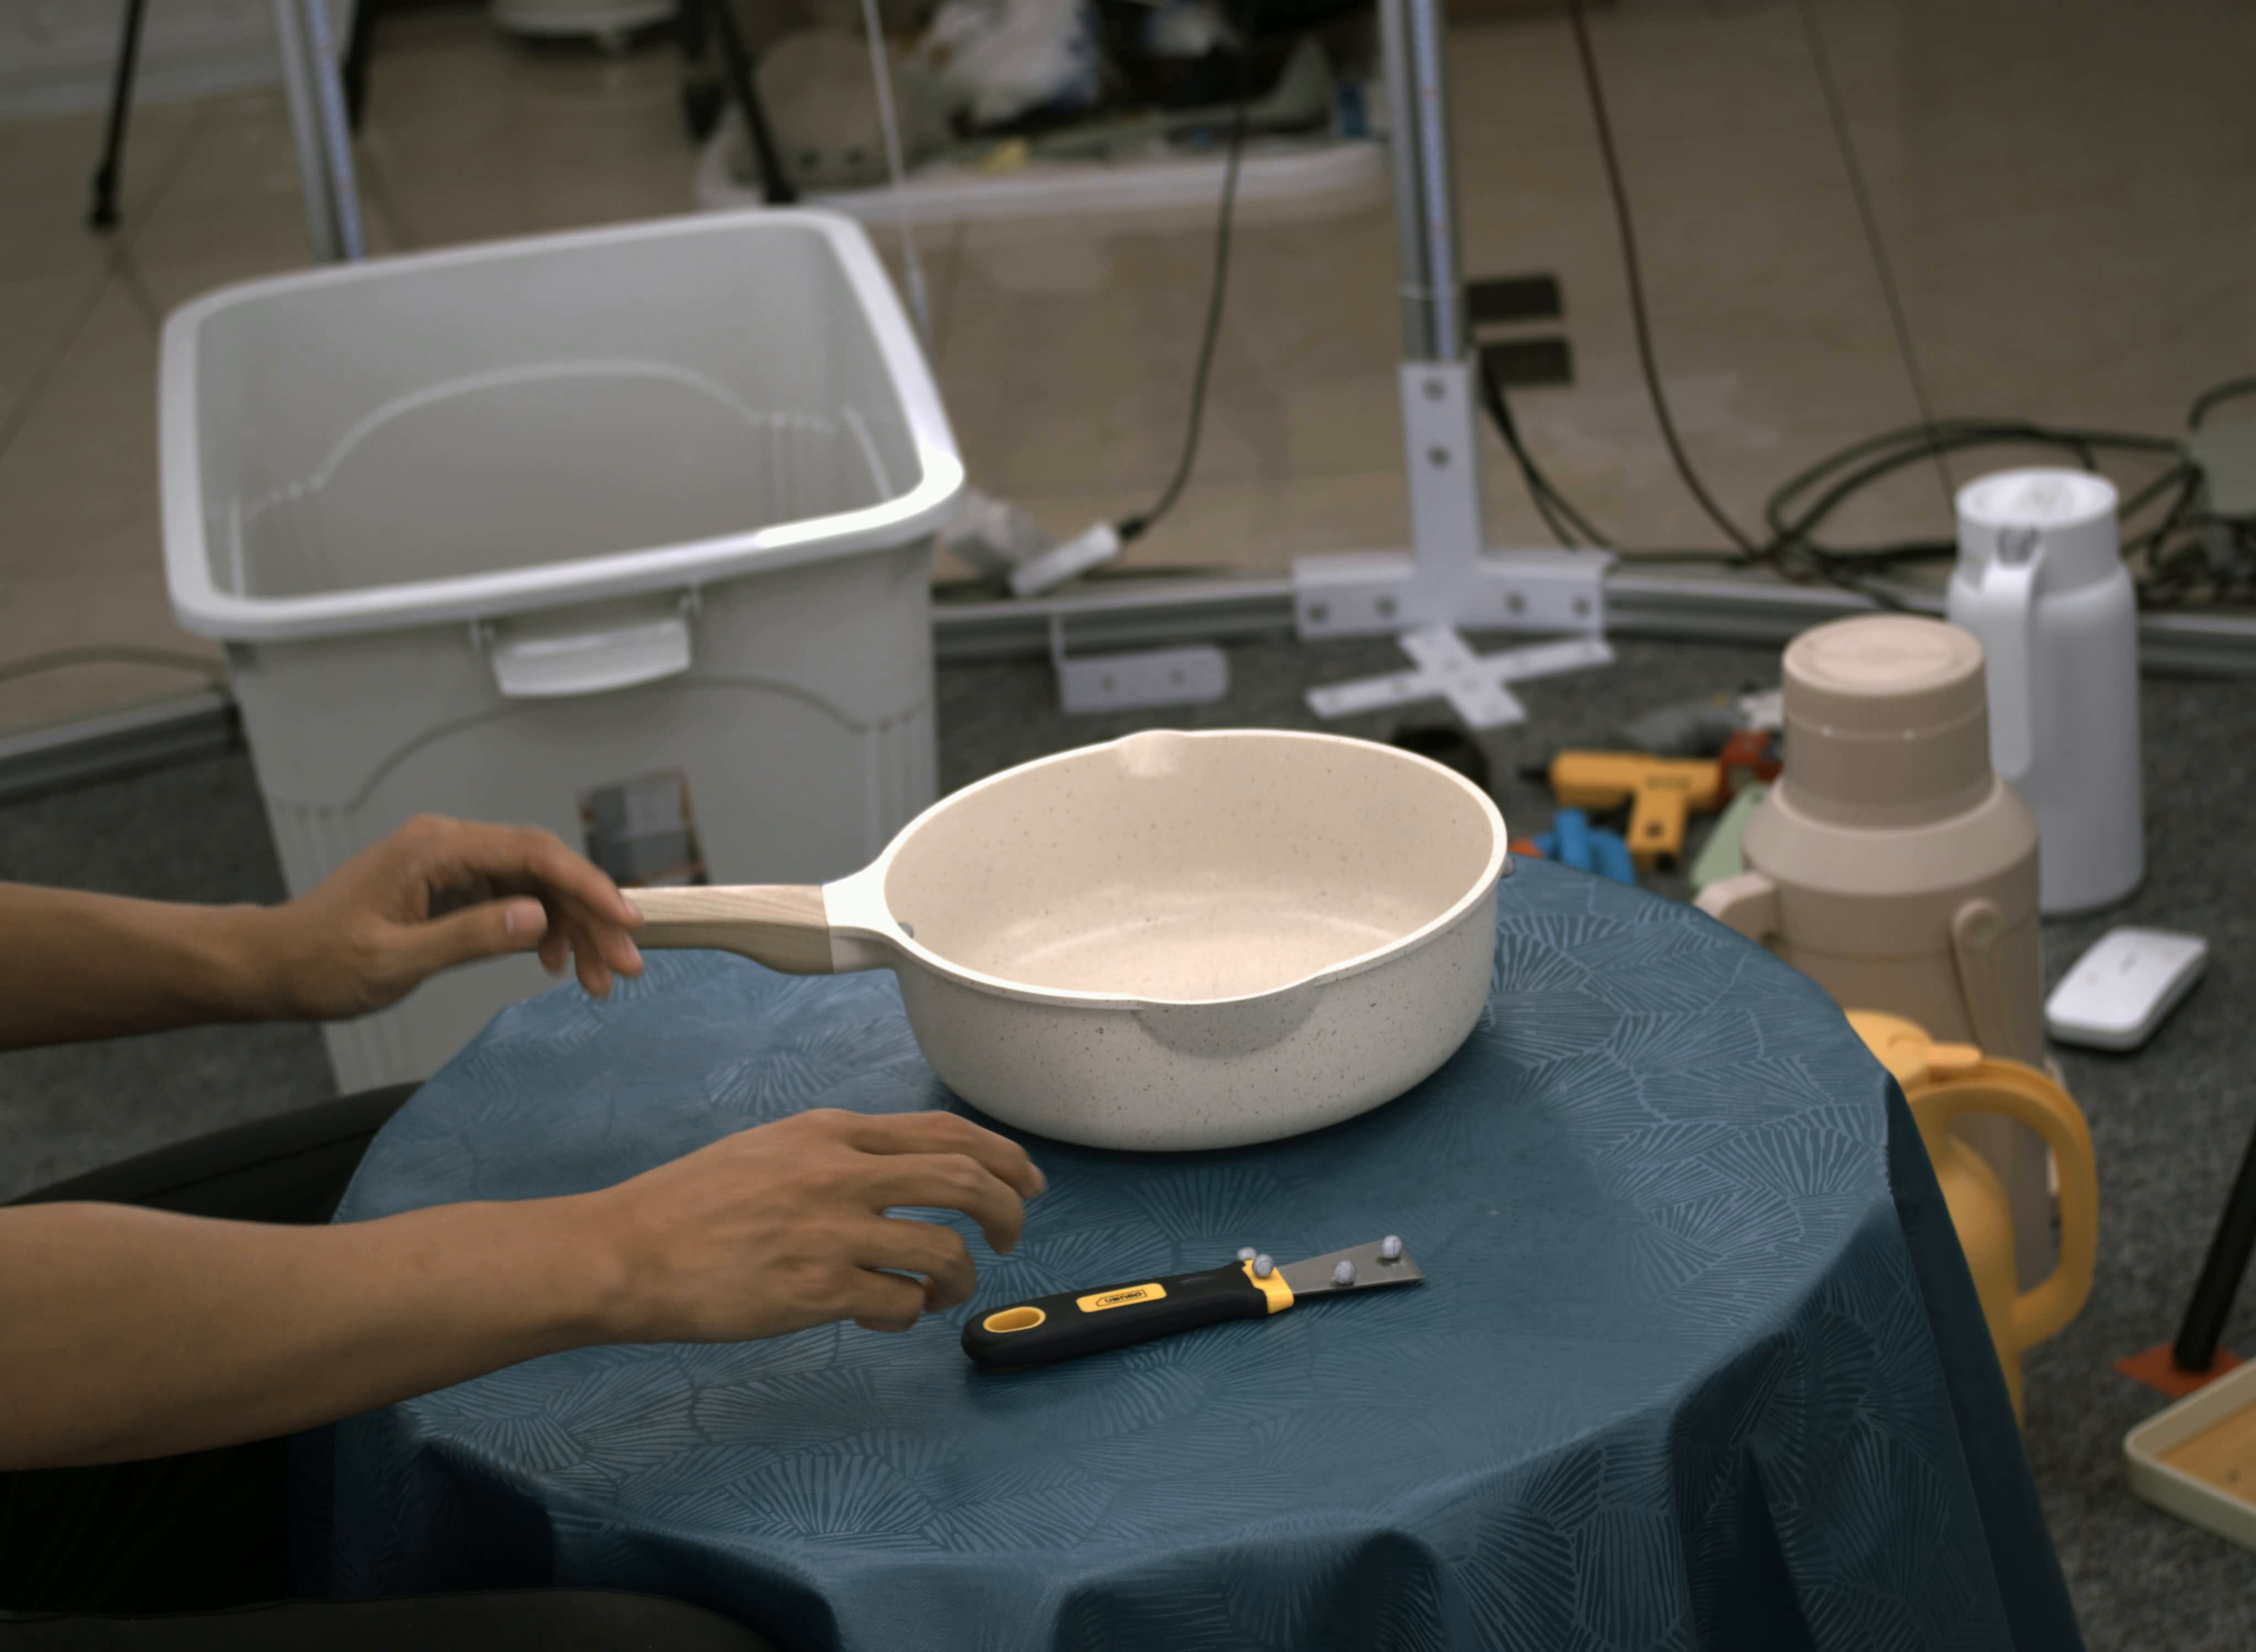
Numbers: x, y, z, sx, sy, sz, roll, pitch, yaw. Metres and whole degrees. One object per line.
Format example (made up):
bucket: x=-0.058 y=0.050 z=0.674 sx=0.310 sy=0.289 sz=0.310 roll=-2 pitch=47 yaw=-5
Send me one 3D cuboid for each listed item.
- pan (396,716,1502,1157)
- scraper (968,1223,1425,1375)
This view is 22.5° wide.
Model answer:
pan: x=-0.066 y=0.054 z=2.239 sx=0.434 sy=0.104 sz=0.259 roll=-8 pitch=27 yaw=-4
scraper: x=0.024 y=0.172 z=2.056 sx=0.170 sy=0.015 sz=0.038 roll=-11 pitch=32 yaw=-16
